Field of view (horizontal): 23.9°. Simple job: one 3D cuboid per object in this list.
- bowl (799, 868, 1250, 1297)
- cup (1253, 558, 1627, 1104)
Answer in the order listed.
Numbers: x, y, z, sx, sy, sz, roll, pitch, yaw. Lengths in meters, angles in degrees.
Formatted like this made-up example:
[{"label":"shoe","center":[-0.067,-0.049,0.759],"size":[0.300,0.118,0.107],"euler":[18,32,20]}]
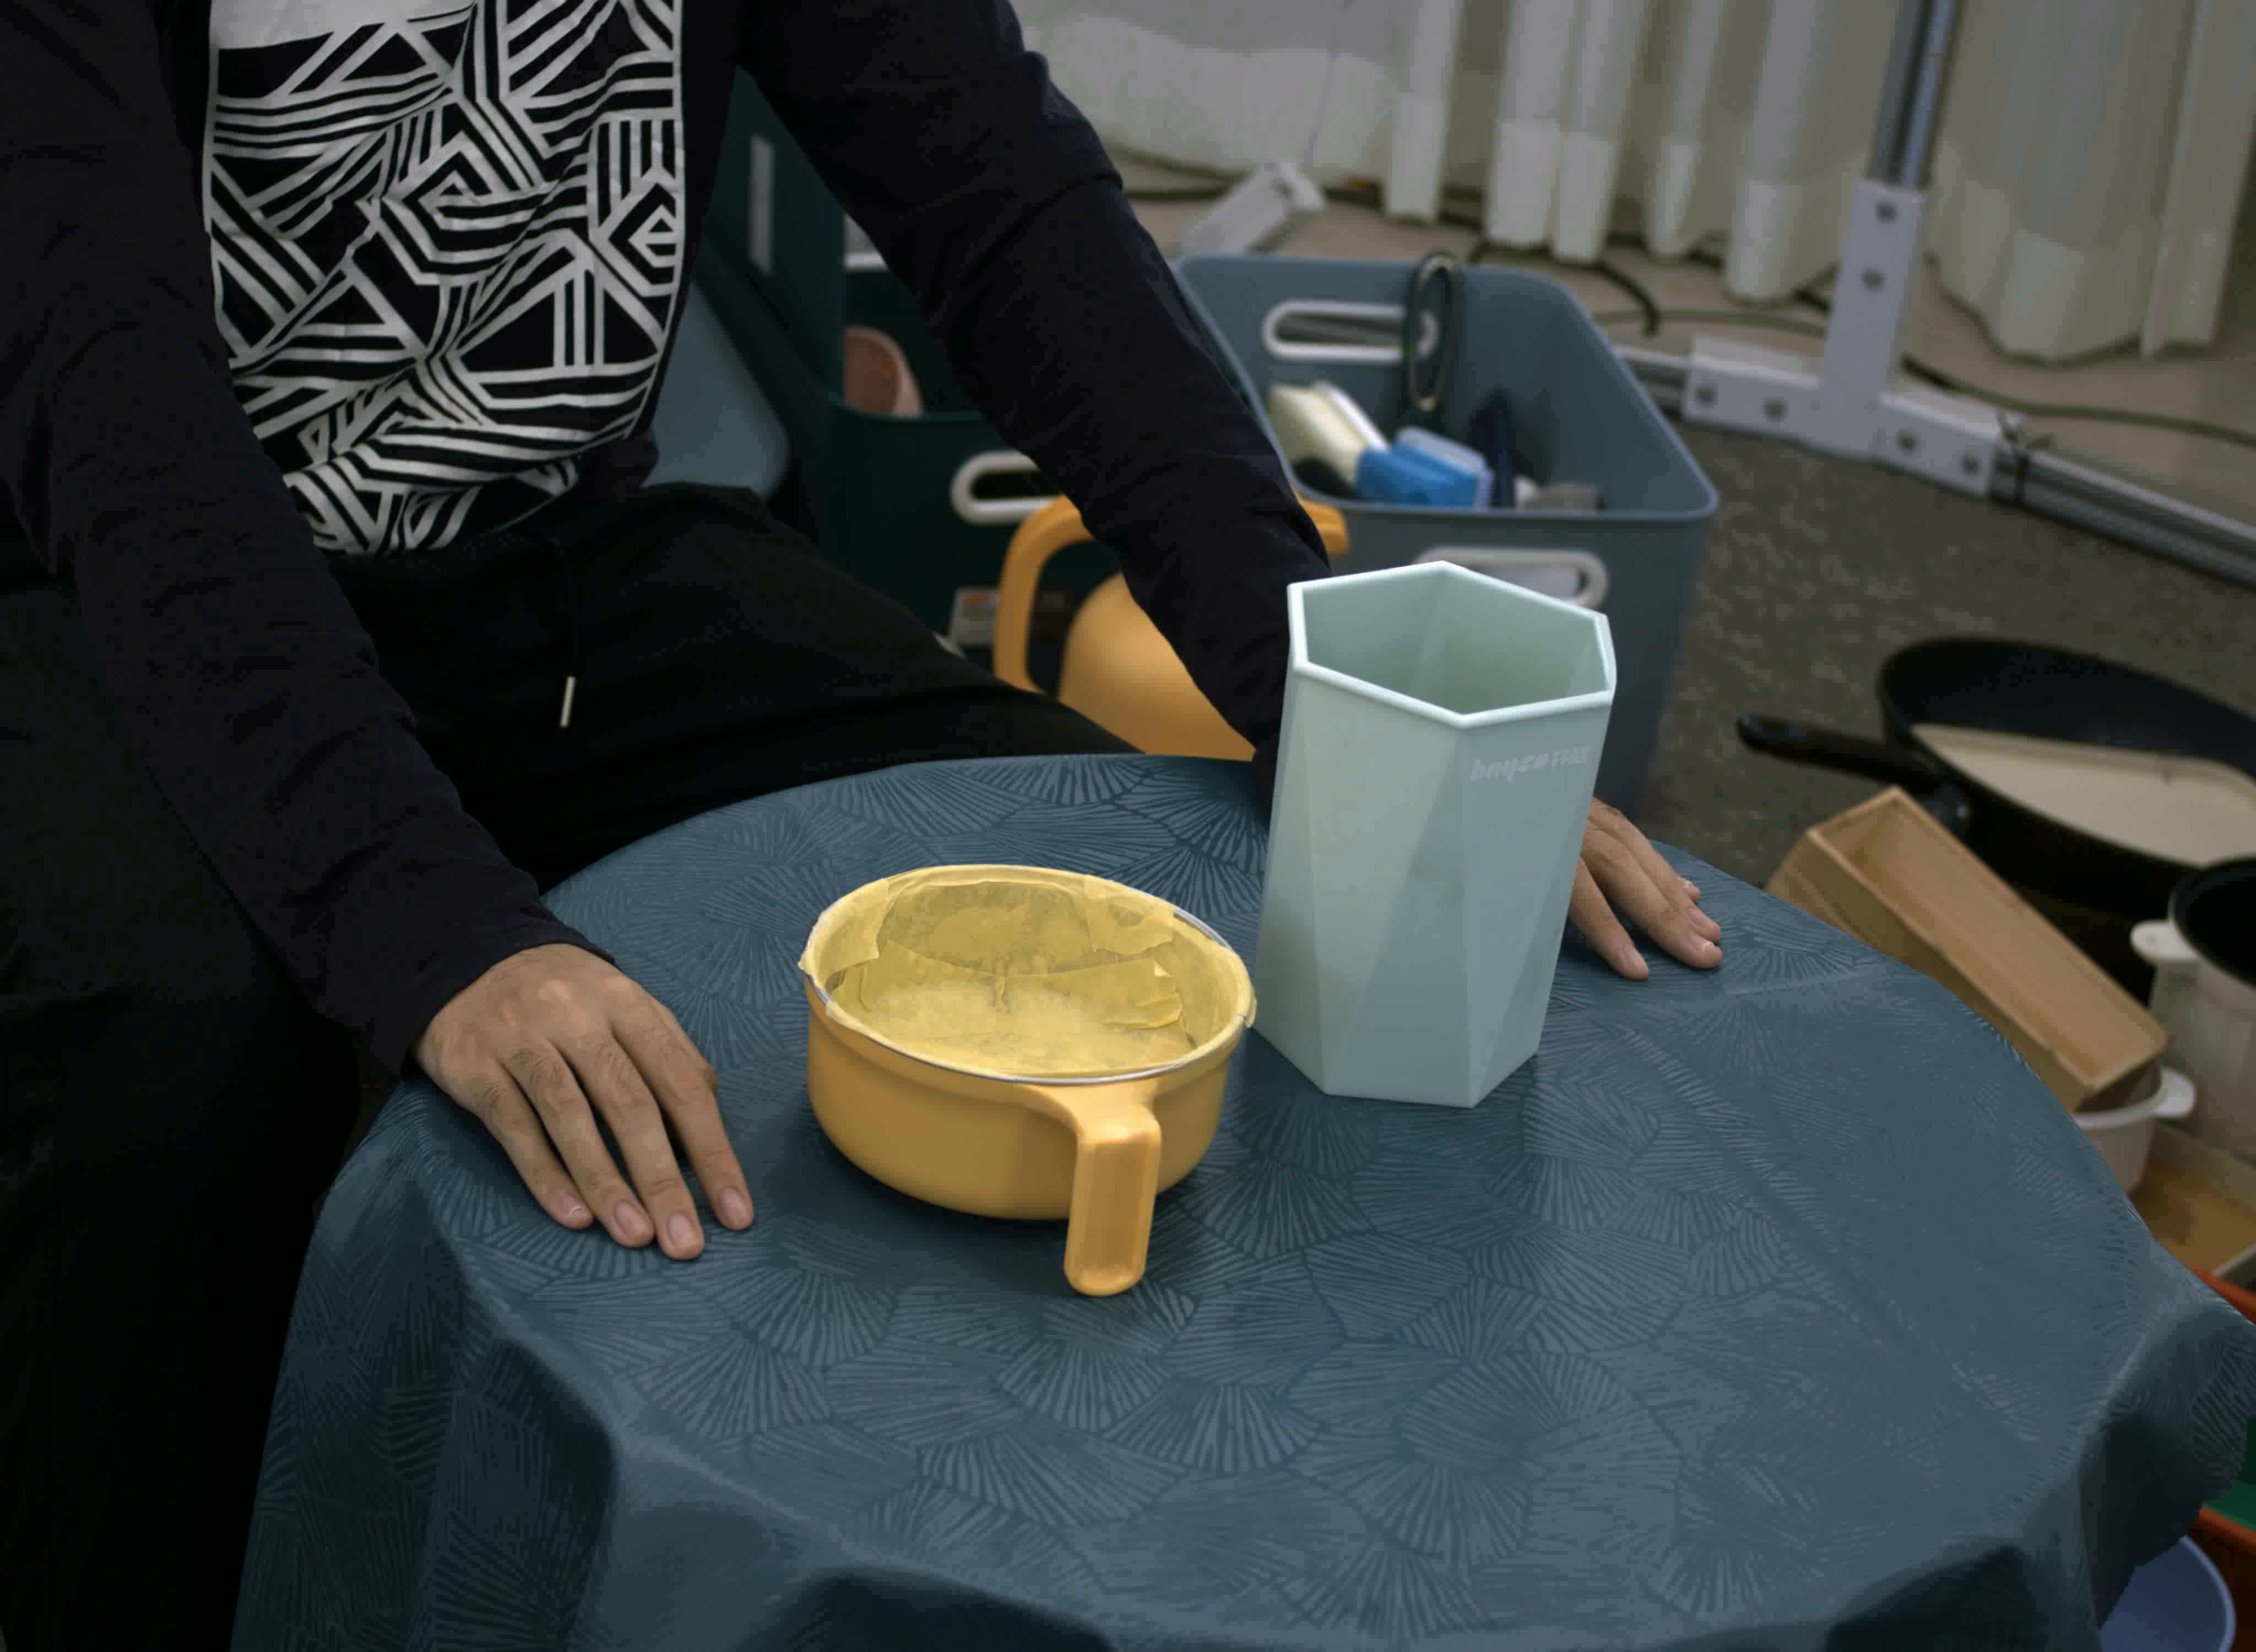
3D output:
[{"label":"bowl","center":[-0.033,0.084,1.804],"size":[0.152,0.074,0.181],"euler":[-5,27,-22]},{"label":"cup","center":[0.106,0.004,1.884],"size":[0.130,0.162,0.116],"euler":[-10,30,-30]}]
